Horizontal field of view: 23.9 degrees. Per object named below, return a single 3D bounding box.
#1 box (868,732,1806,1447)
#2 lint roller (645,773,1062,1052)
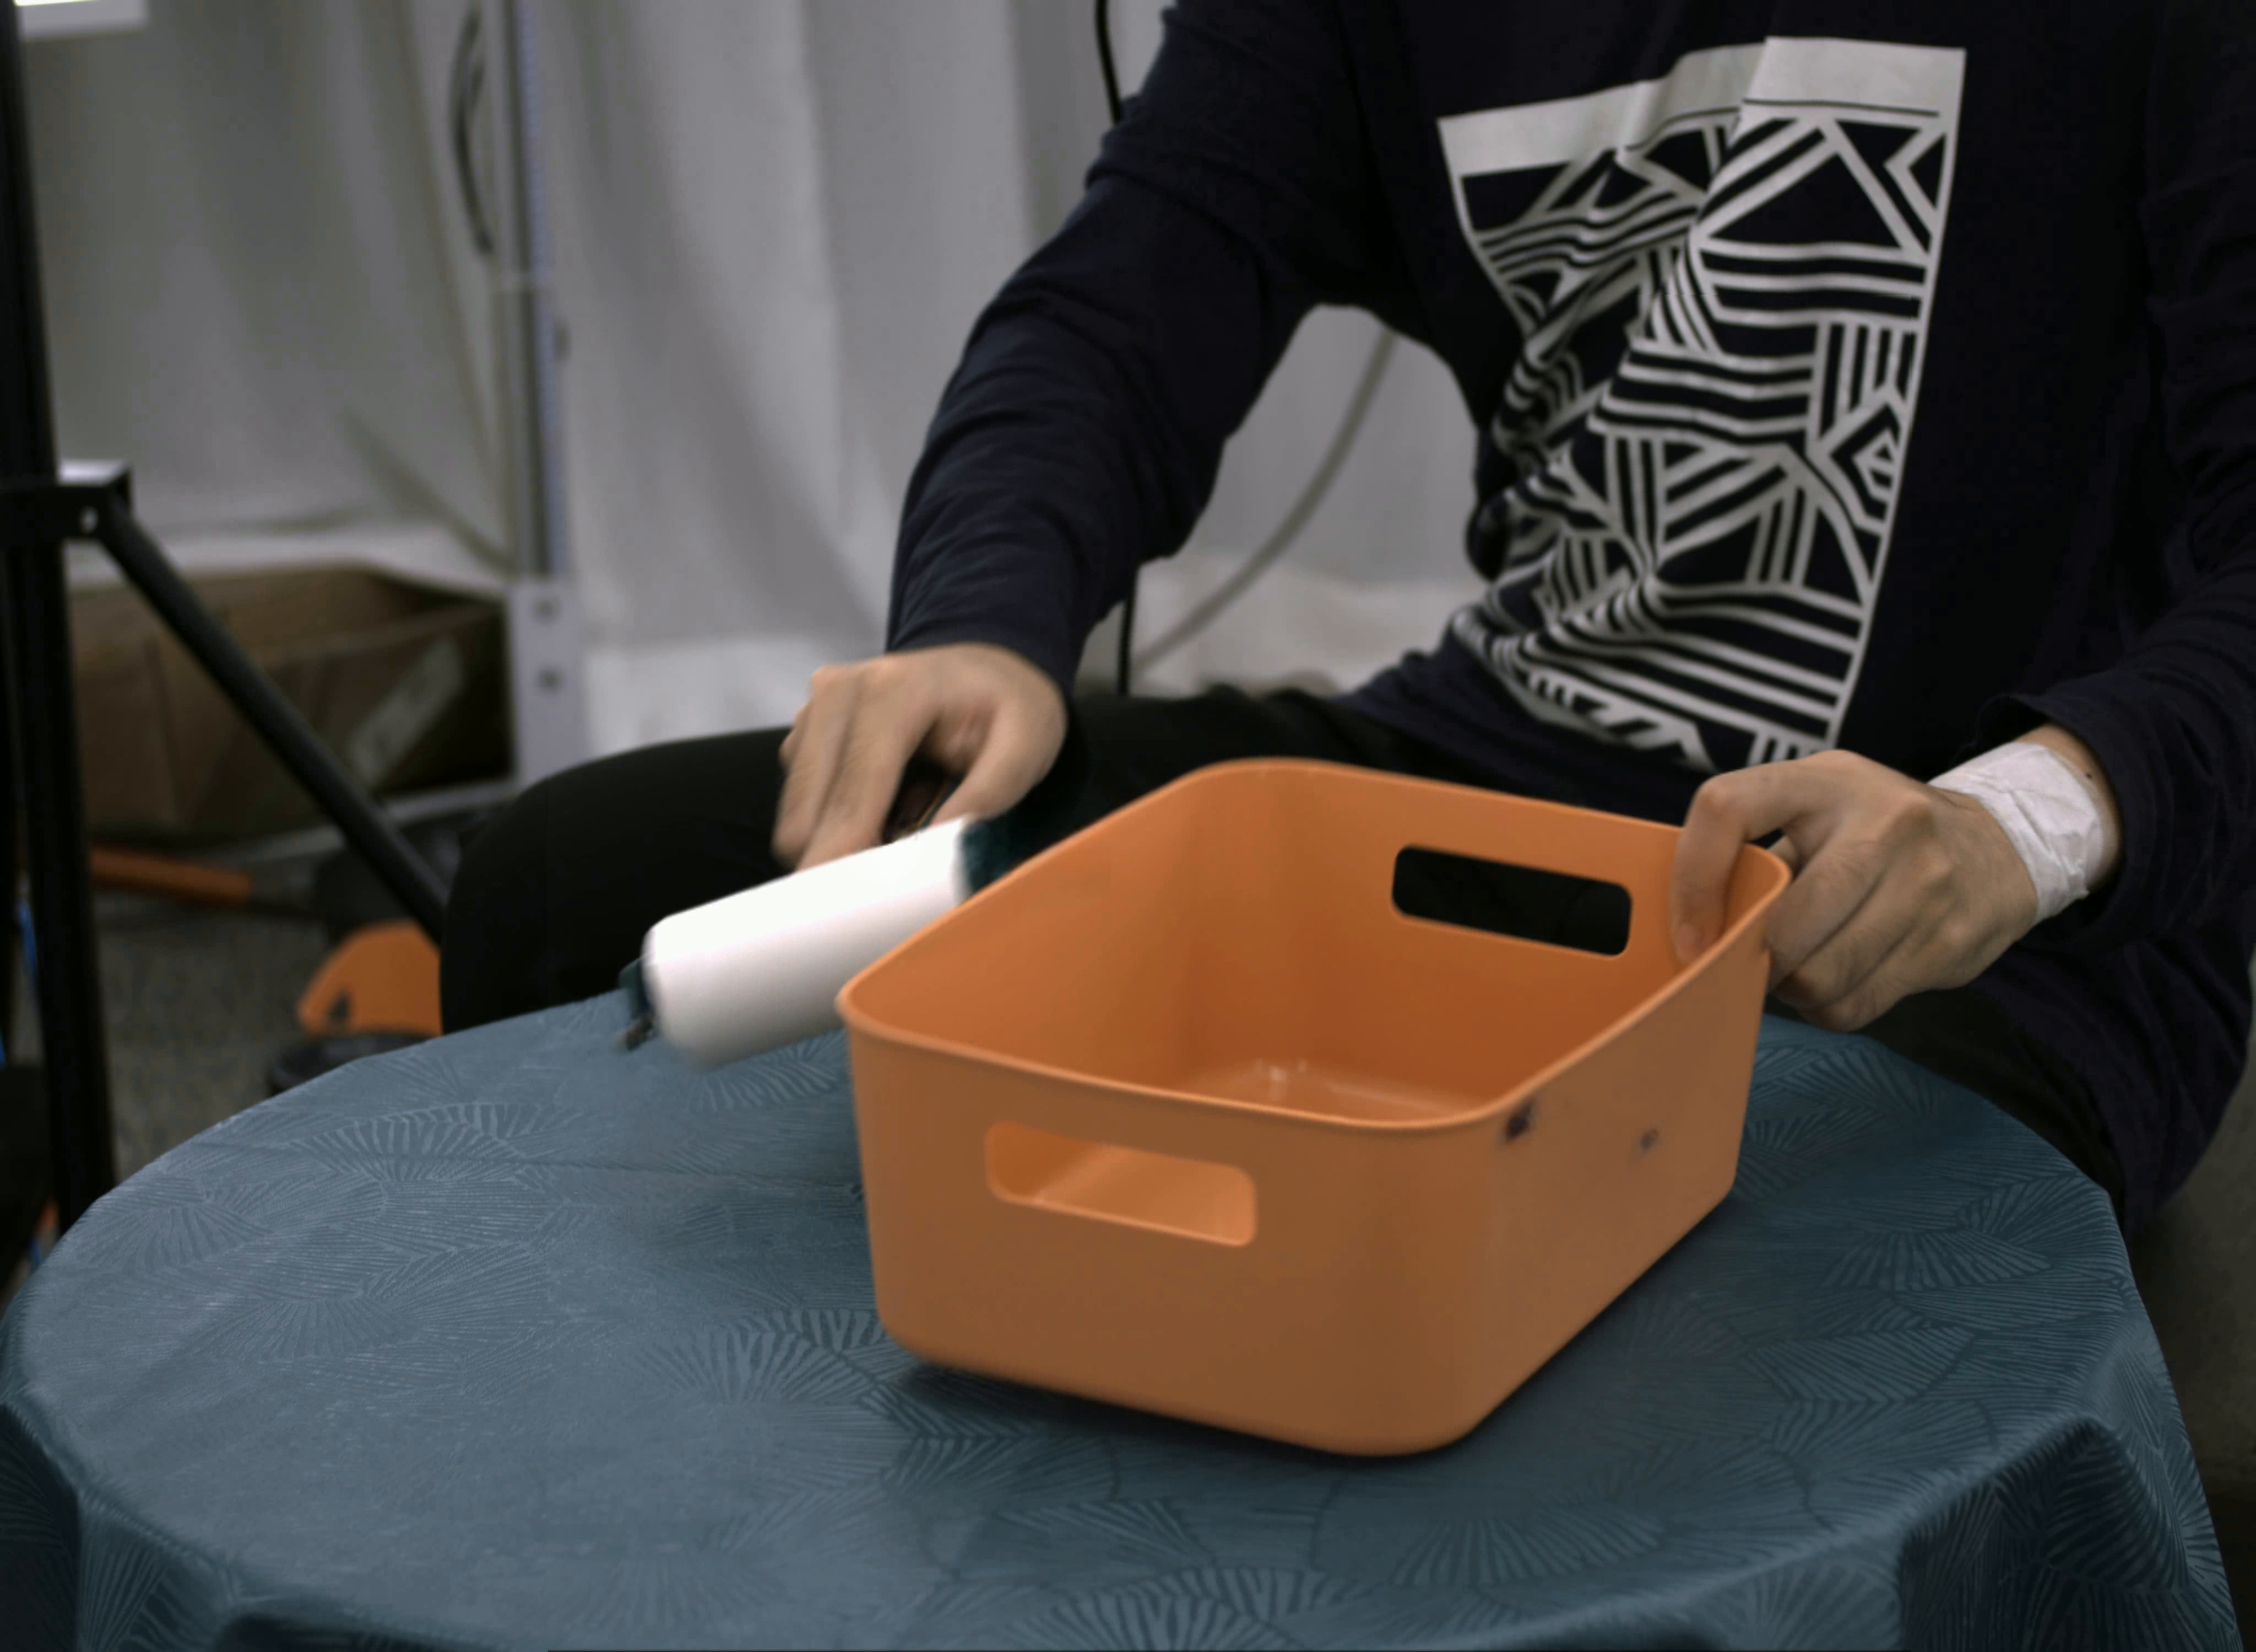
[{"bbox_3d":[0.057,0.068,1.461,0.202,0.102,0.269,13,21,24],"label":"box"},{"bbox_3d":[-0.071,0.003,1.614,0.135,0.048,0.180,-21,19,15],"label":"lint roller"}]
